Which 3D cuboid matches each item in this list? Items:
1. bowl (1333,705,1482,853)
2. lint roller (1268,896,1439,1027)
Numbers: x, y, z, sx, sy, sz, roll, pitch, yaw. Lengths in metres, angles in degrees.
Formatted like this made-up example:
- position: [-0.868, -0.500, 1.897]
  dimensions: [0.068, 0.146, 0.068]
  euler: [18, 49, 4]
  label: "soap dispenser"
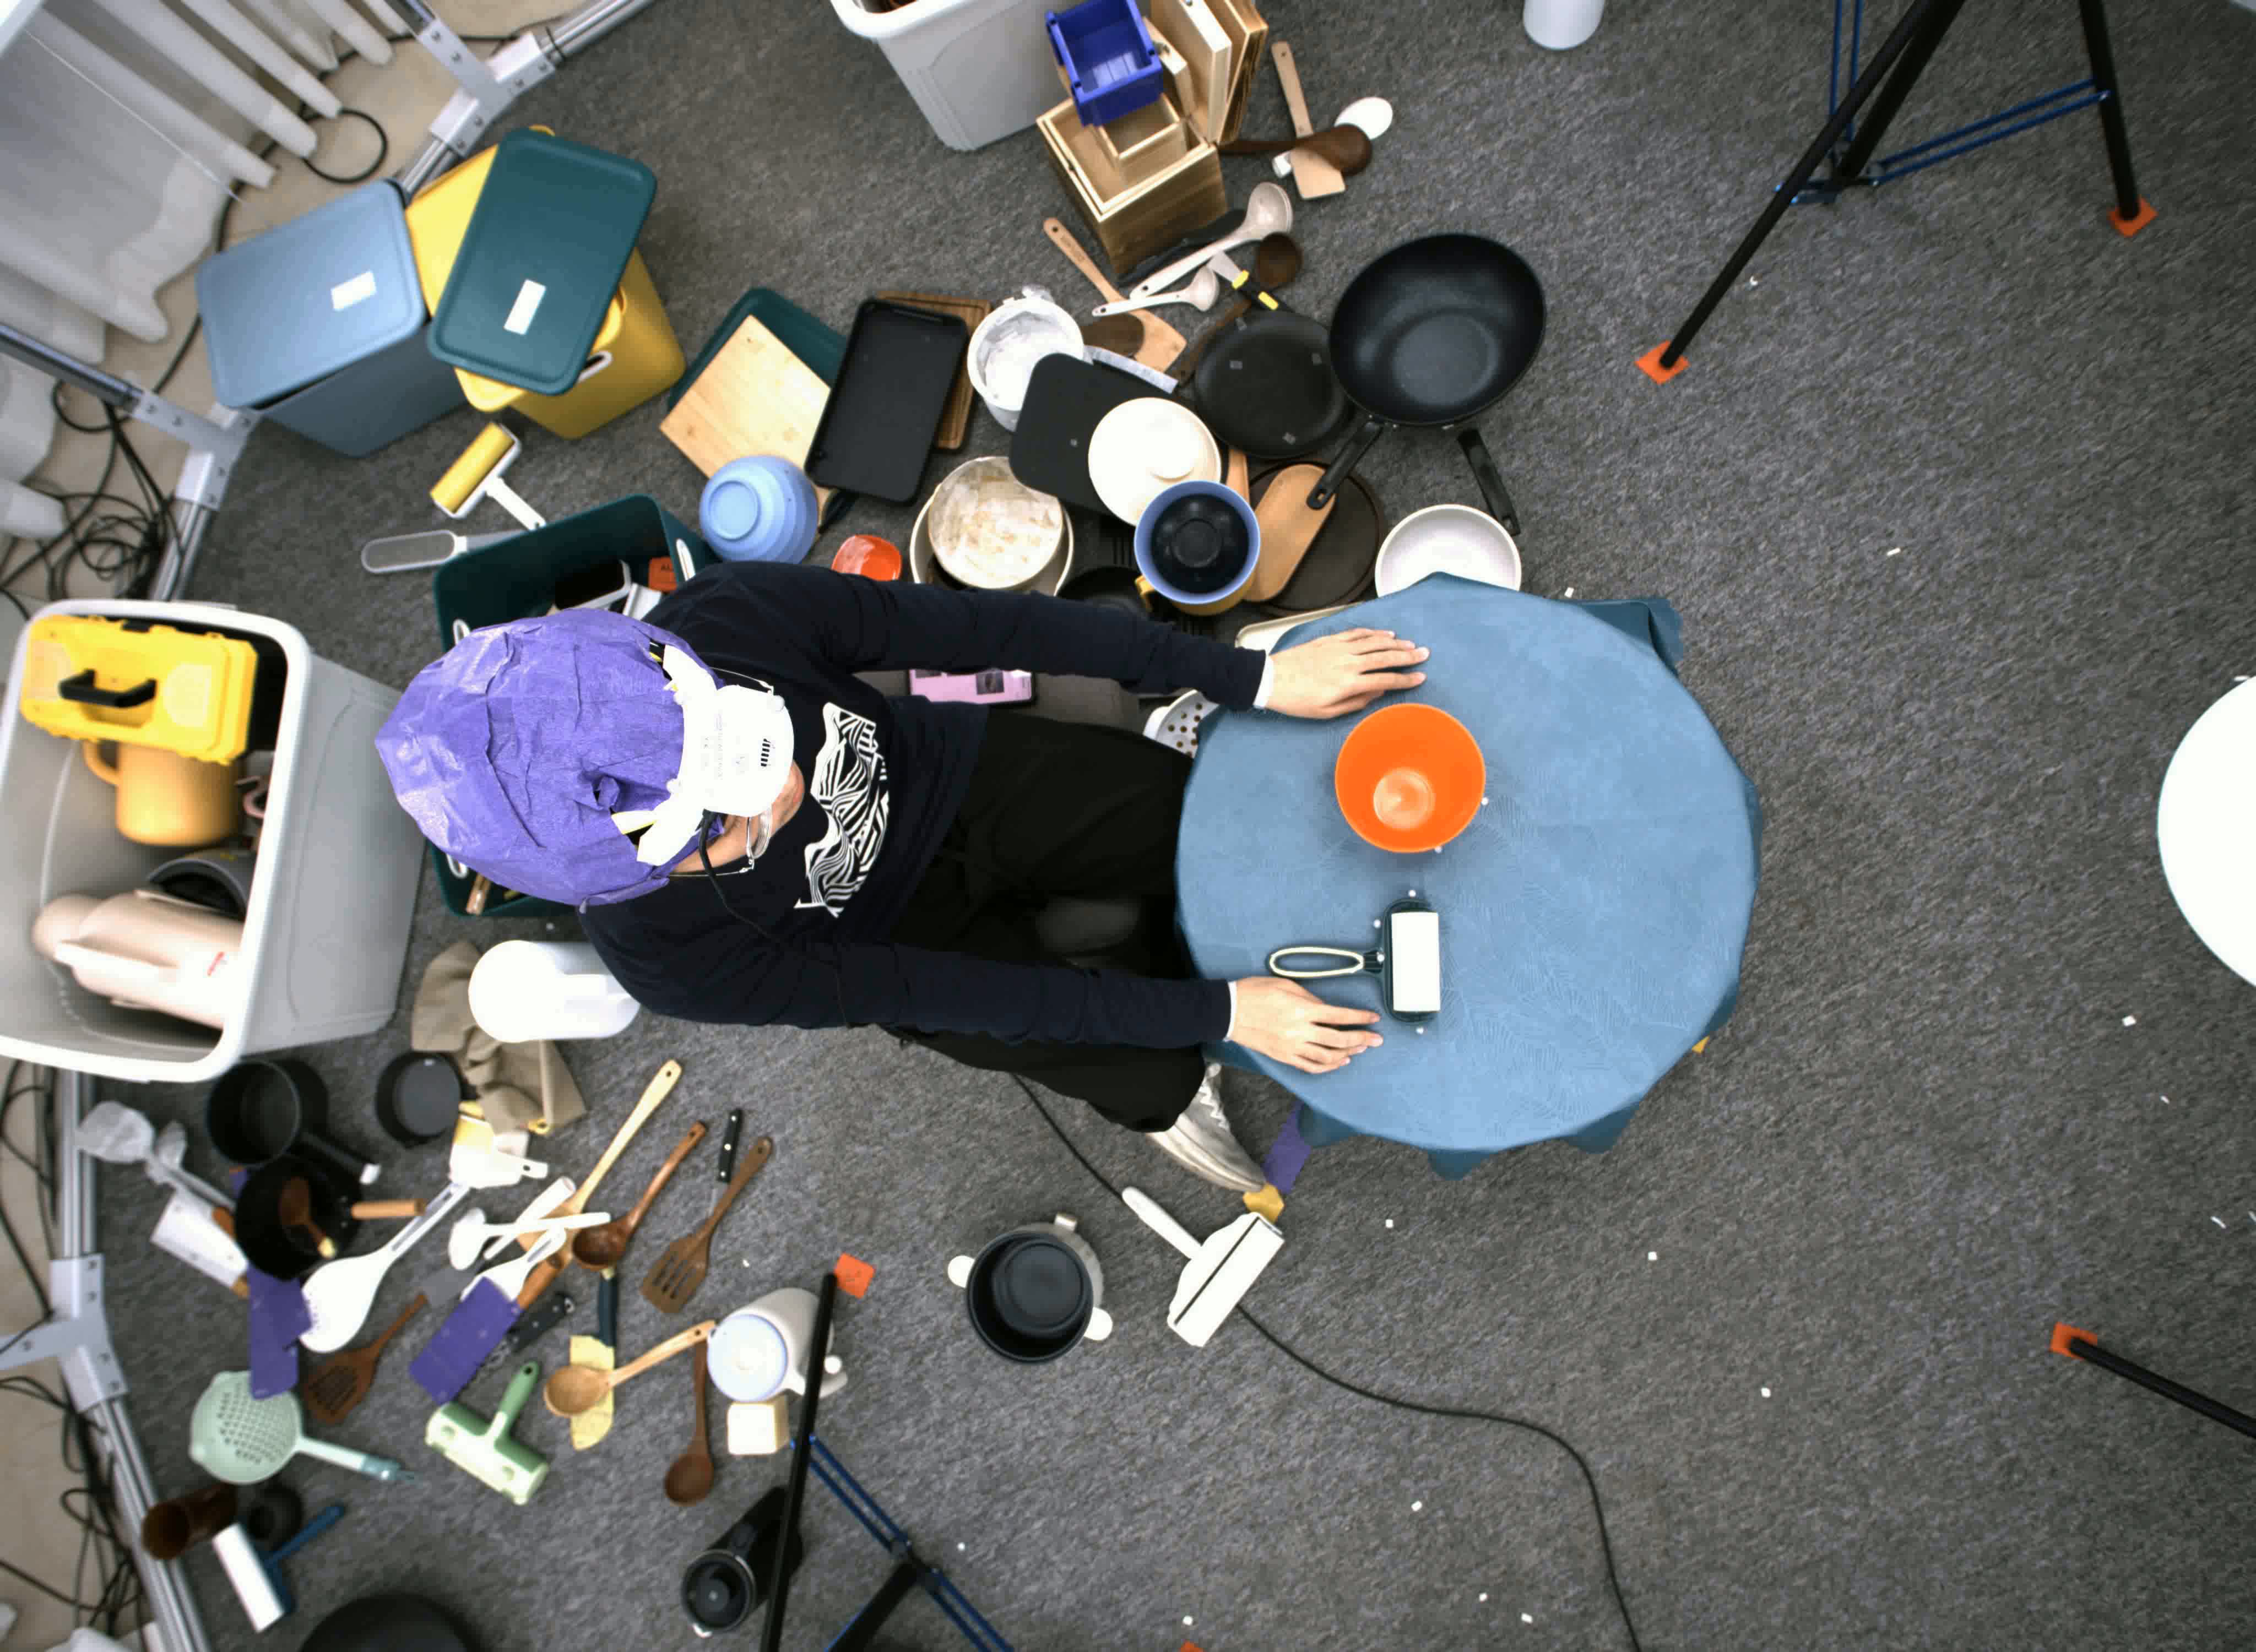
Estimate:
- position: [0.288, -0.043, 1.416]
  dimensions: [0.149, 0.104, 0.147]
  euler: [-1, 85, 13]
  label: "bowl"
- position: [0.232, 0.141, 1.444]
  dimensions: [0.181, 0.048, 0.134]
  euler: [-2, 87, 15]
  label: "lint roller"
